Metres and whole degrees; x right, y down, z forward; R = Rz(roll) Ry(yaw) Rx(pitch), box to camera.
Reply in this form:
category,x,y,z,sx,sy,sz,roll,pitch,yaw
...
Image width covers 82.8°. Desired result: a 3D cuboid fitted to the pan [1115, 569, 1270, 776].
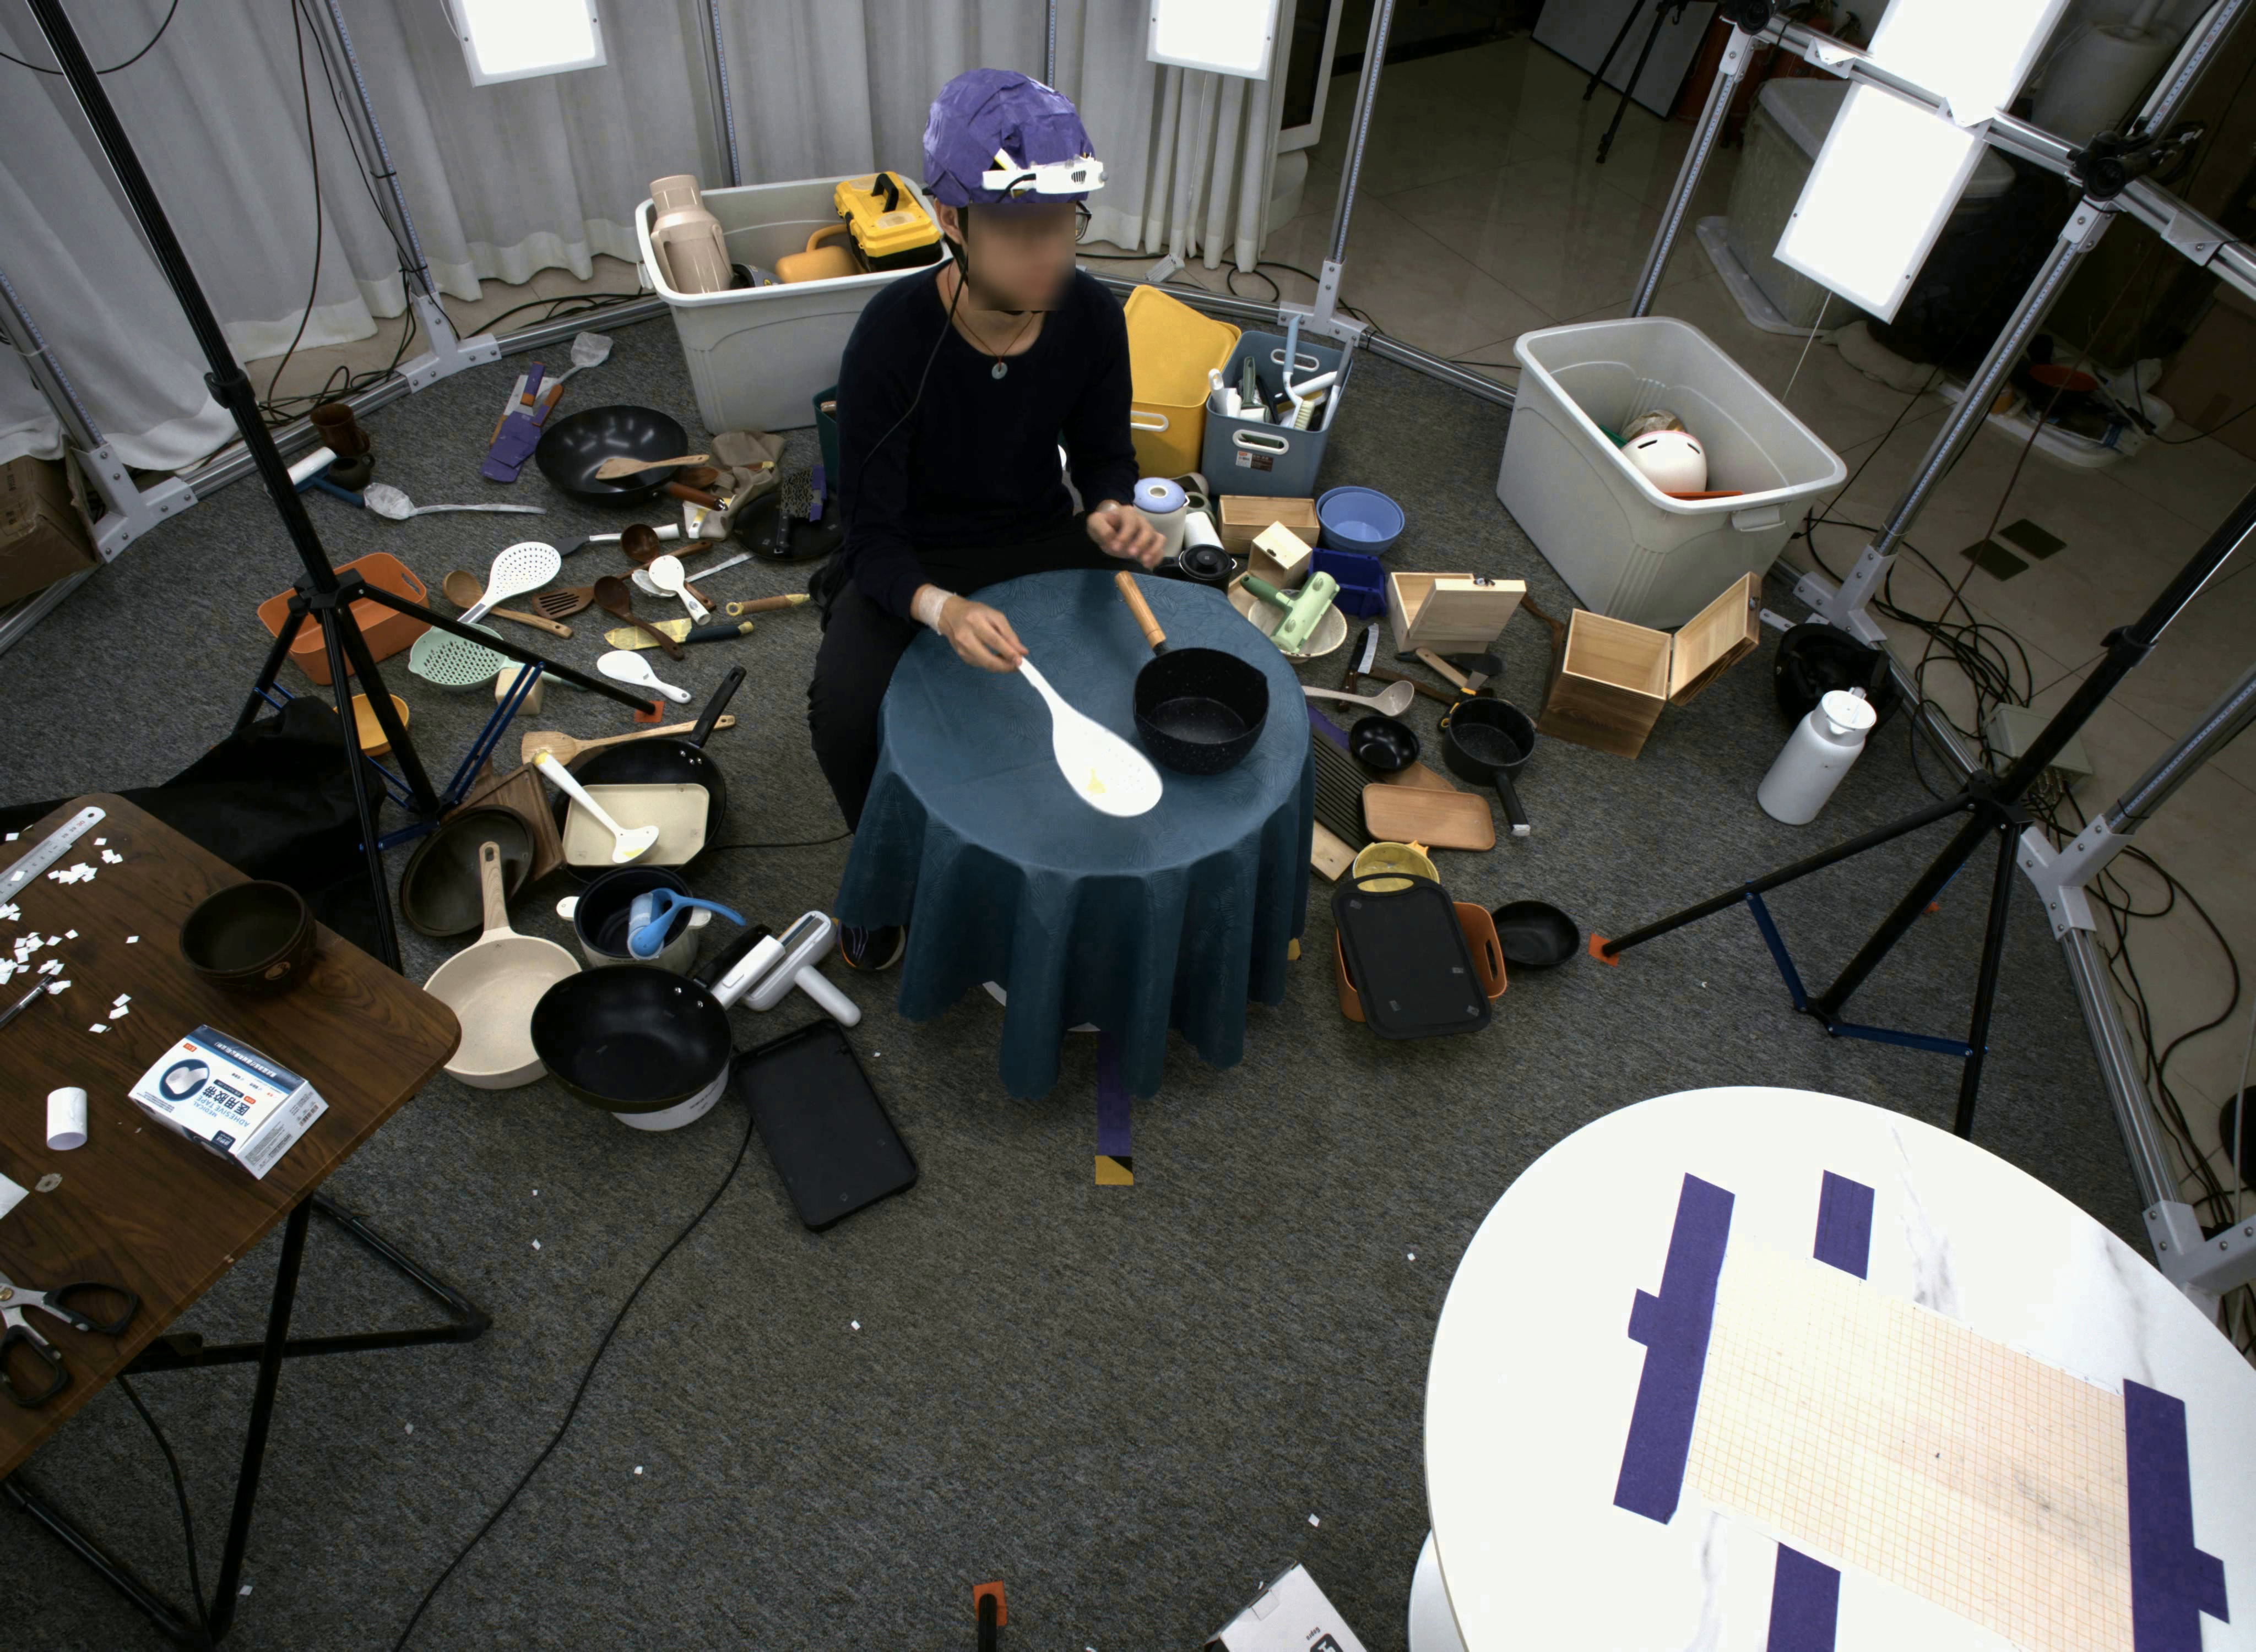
category,x,y,z,sx,sy,sz,roll,pitch,yaw
pan,0.061,-0.215,1.789,0.208,0.105,0.350,-20,55,-19

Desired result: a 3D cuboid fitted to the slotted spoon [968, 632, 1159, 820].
category,x,y,z,sx,sy,sz,roll,pitch,yaw
slotted spoon,-0.094,-0.135,1.635,0.137,0.049,0.353,-17,65,-44
